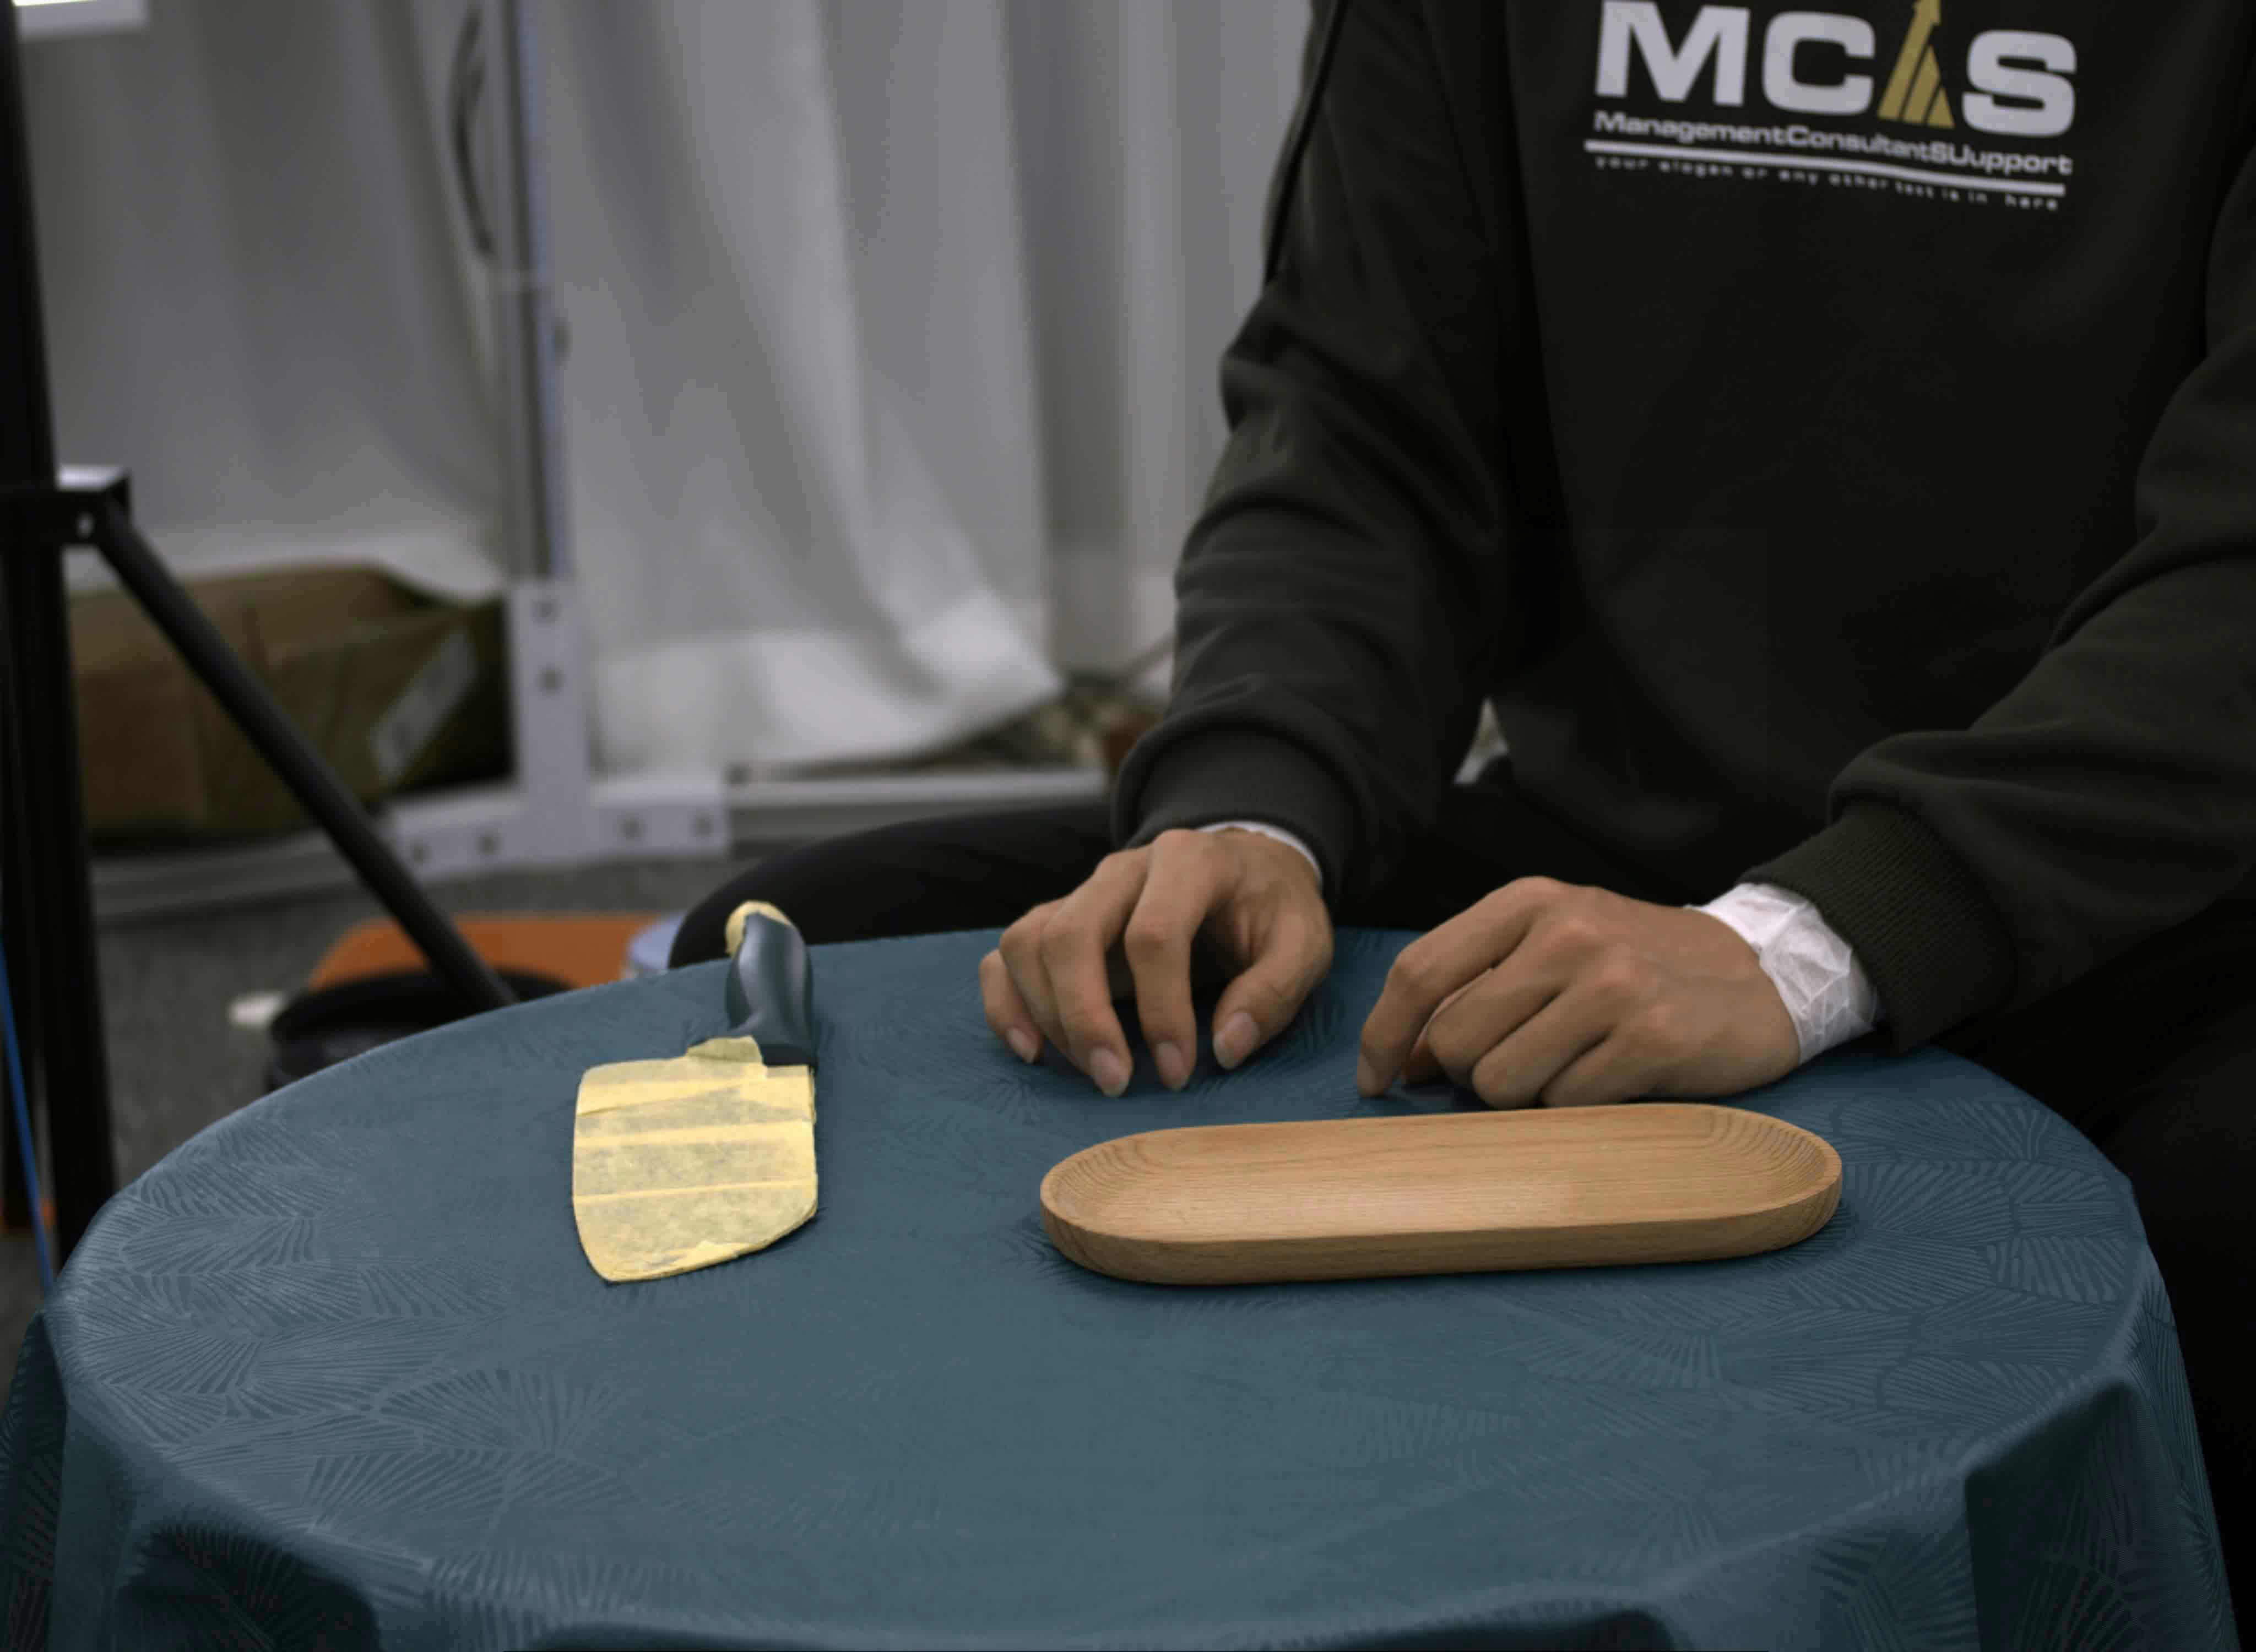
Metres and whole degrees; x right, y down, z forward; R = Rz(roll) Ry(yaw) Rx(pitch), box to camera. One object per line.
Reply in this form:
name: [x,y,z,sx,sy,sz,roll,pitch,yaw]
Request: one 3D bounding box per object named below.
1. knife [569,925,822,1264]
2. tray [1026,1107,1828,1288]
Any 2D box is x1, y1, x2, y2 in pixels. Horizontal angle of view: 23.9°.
knife: [-0.132,0.083,1.646,0.080,0.027,0.291,-1,16,-1]
tray: [0.086,0.107,1.522,0.230,0.020,0.102,-4,14,0]
